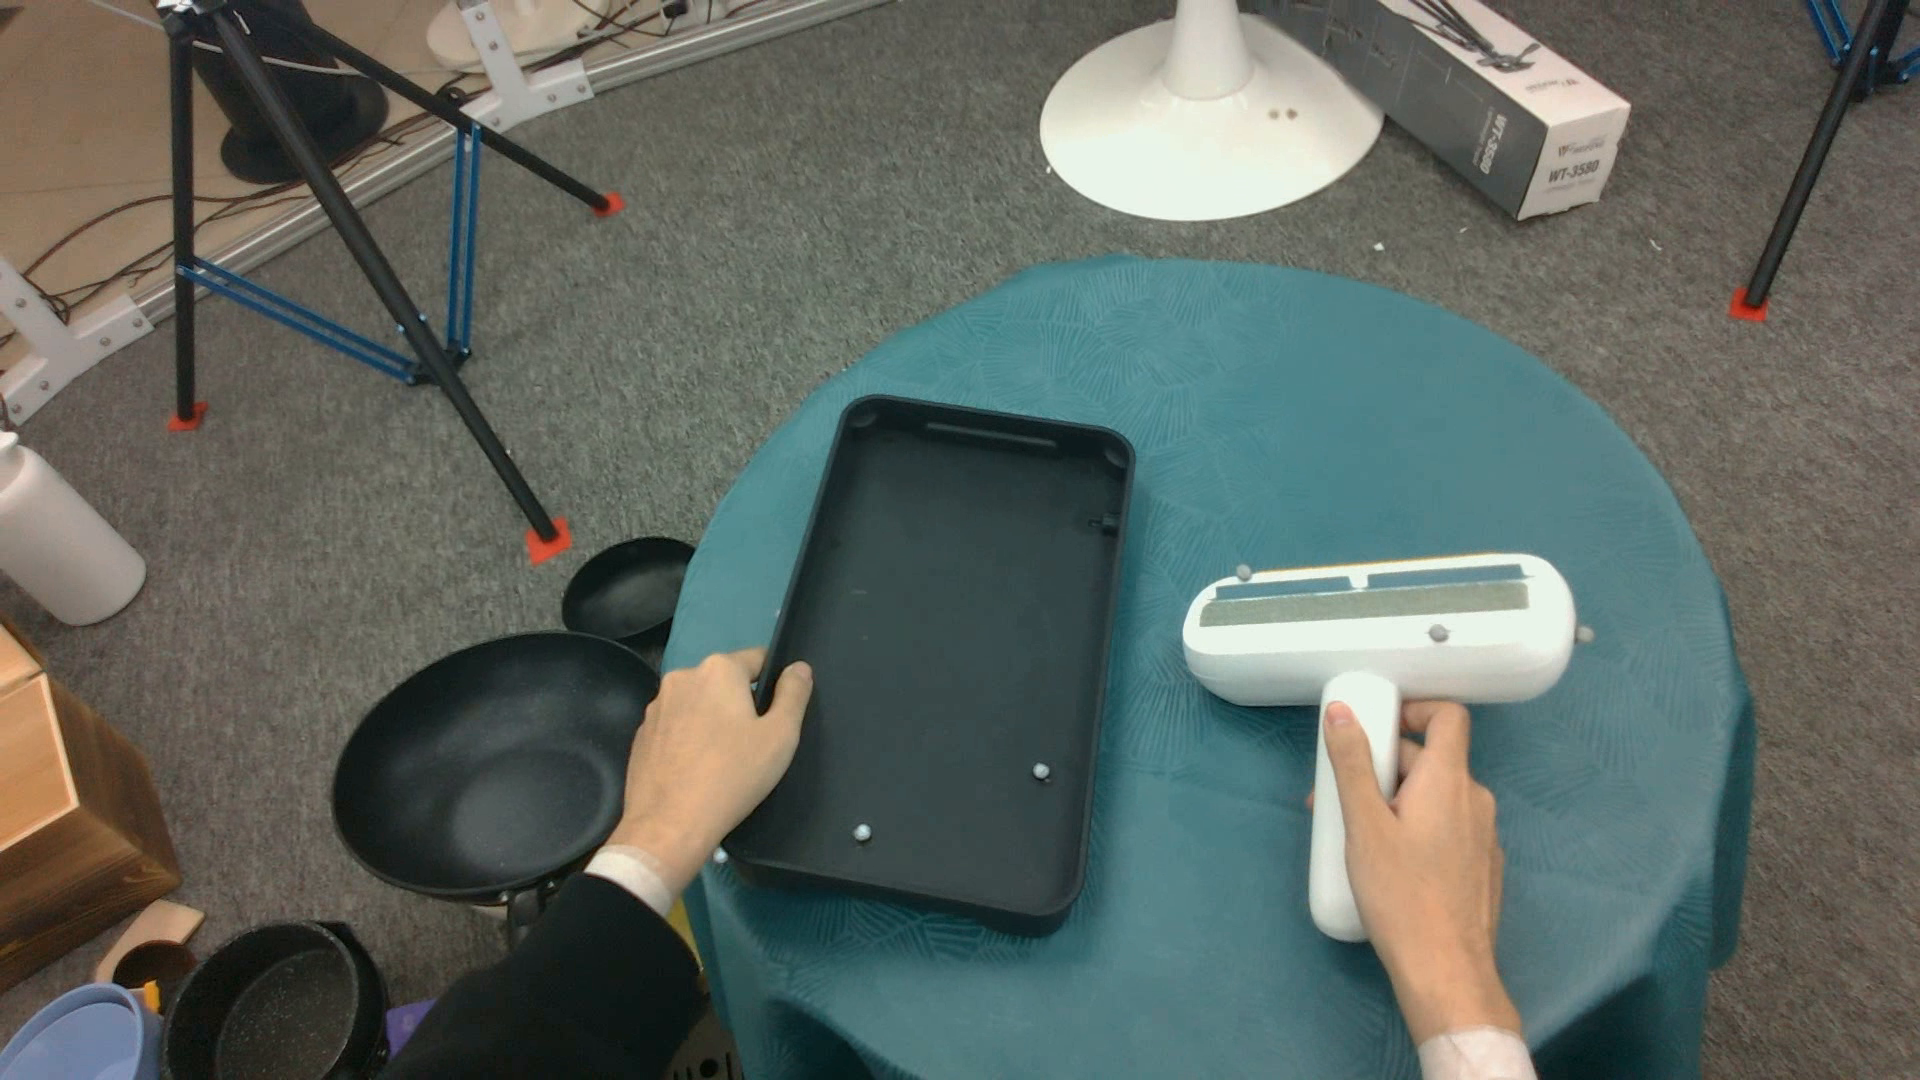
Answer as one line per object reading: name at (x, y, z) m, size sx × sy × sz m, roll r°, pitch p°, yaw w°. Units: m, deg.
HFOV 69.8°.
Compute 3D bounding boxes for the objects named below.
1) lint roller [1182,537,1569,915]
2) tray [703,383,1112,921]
lint roller at (0.190, 0.085, 0.675) m, size 0.192 × 0.074 × 0.193 m, roll 0°, pitch 52°, yaw 32°
tray at (-0.018, 0.046, 0.761) m, size 0.184 × 0.037 × 0.319 m, roll 8°, pitch 52°, yaw 2°
